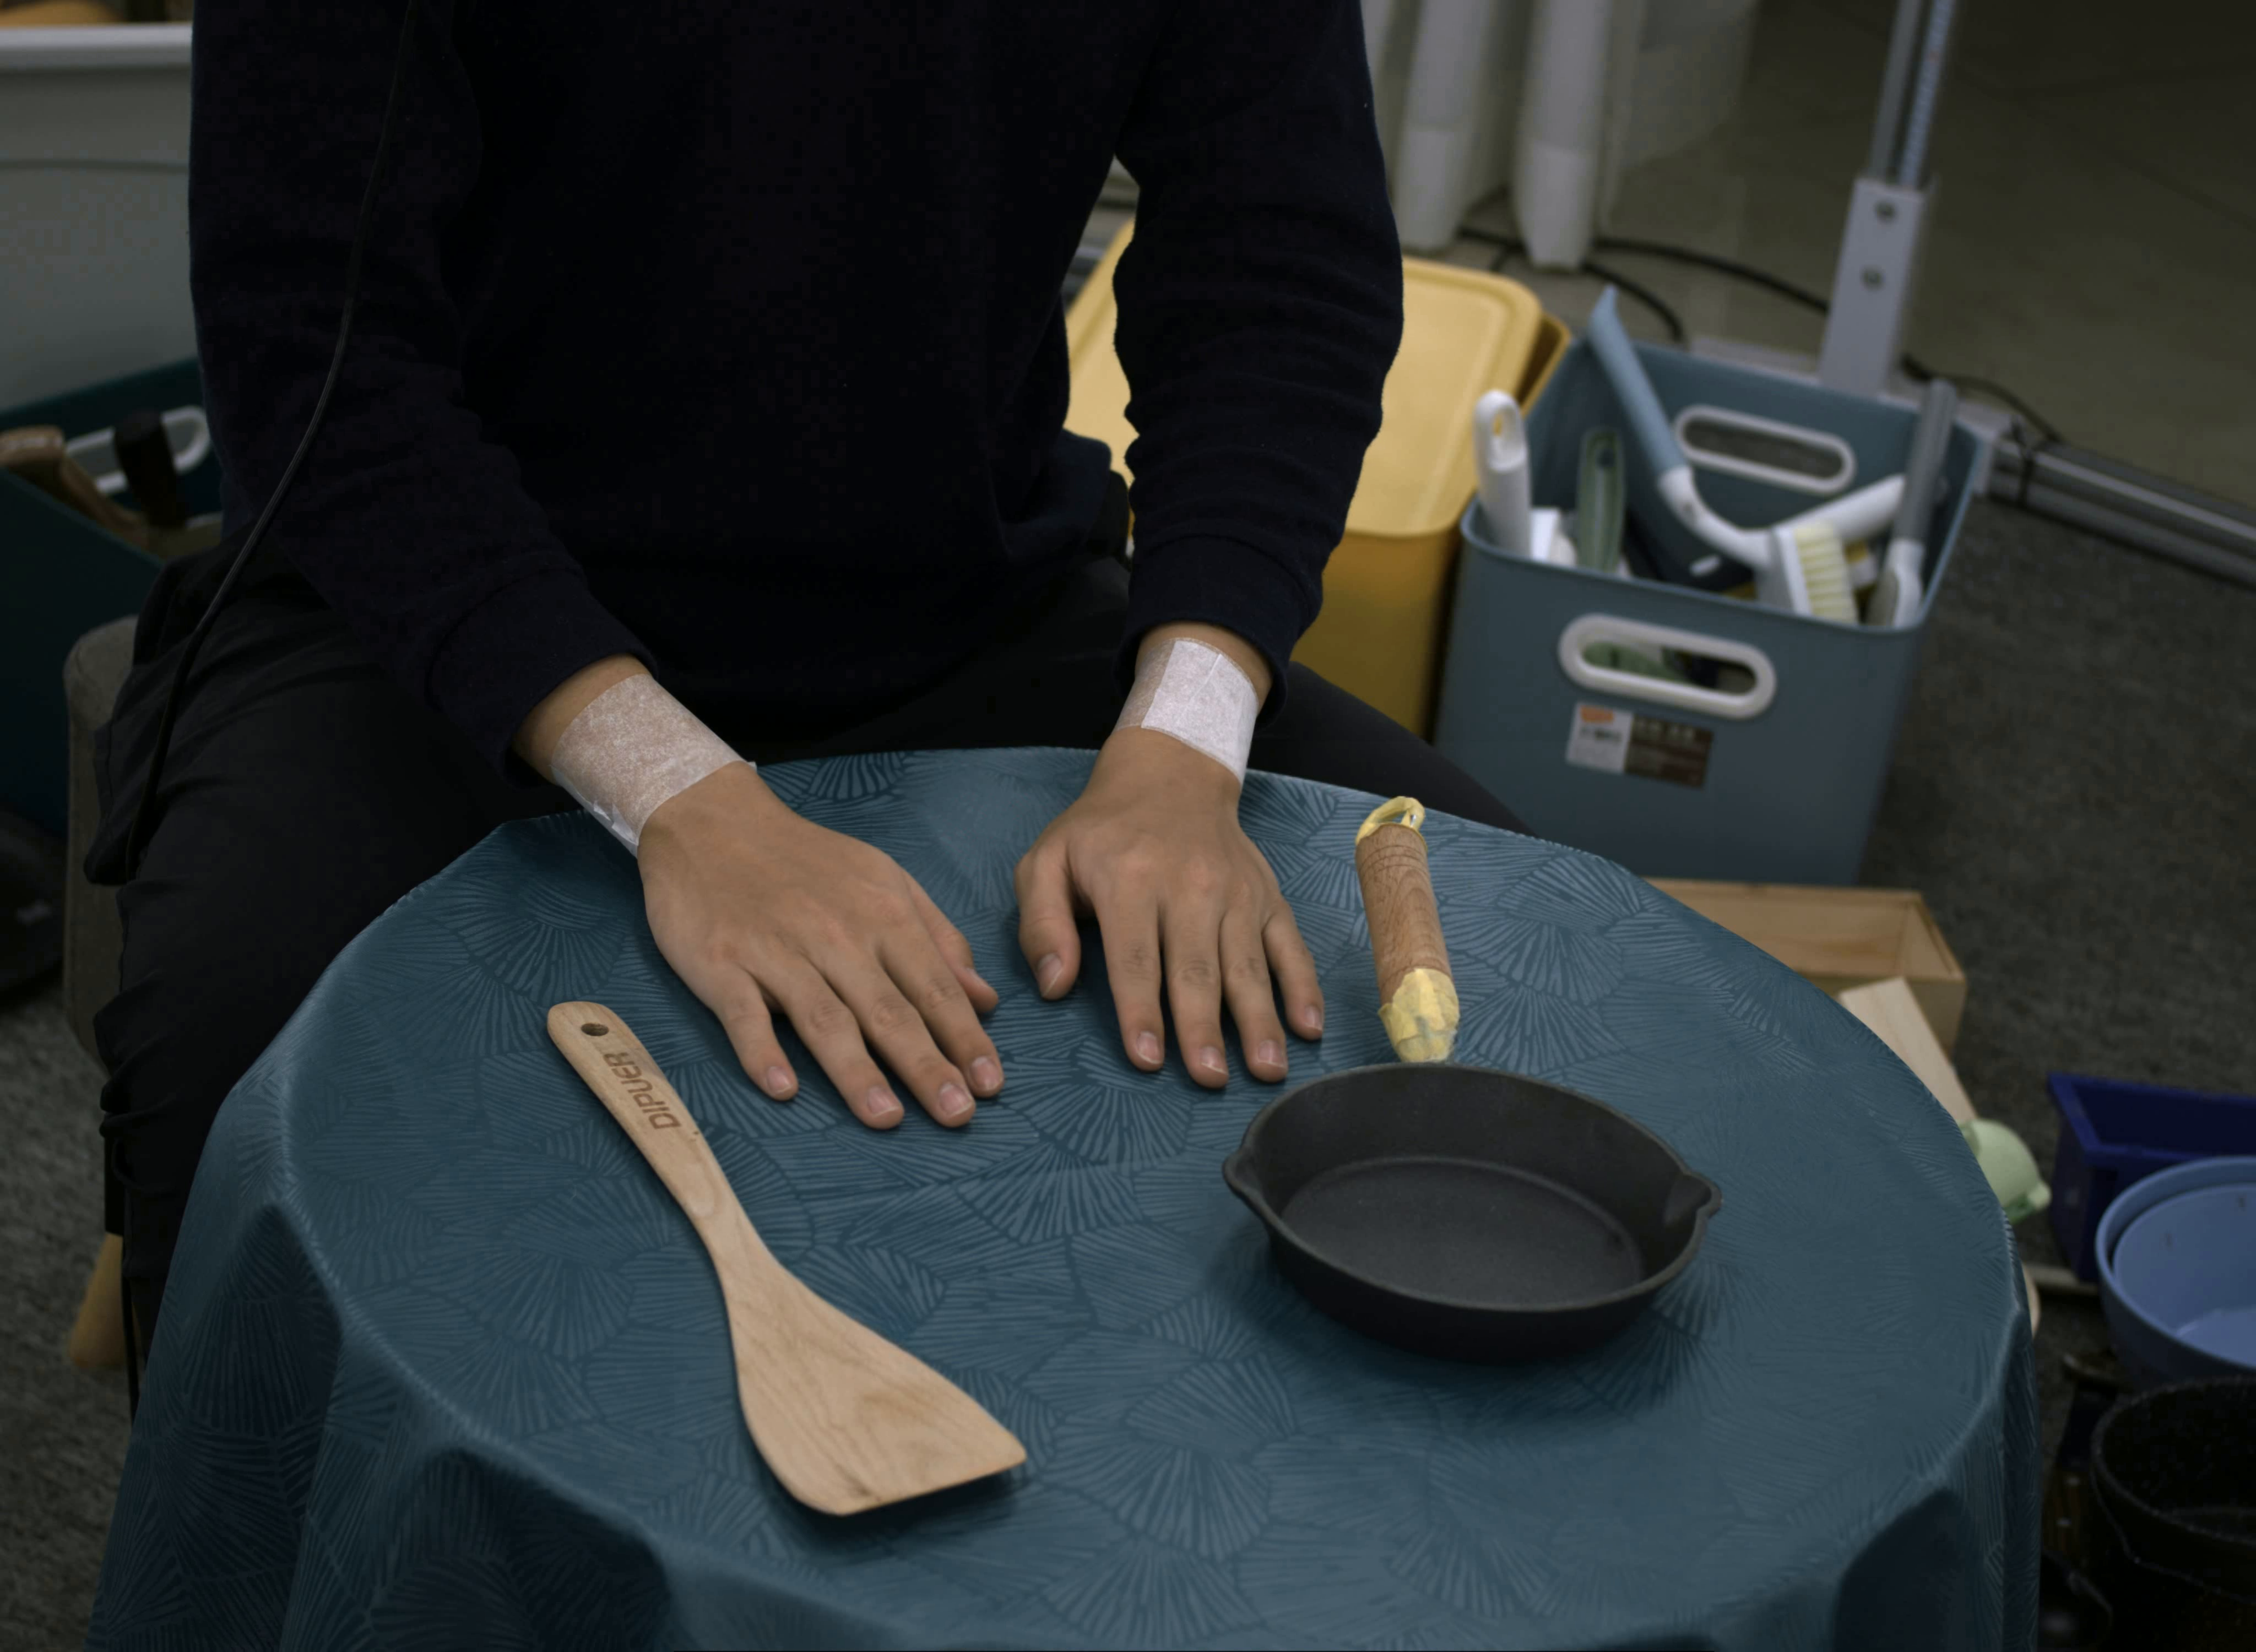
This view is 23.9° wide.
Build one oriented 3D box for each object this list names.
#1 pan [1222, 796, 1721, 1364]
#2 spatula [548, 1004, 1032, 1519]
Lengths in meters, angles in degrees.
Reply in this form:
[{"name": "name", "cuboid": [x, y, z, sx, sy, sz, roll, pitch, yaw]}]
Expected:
[{"name": "pan", "cuboid": [0.109, 0.085, 1.847, 0.168, 0.049, 0.326, 4, 29, -6]}, {"name": "spatula", "cuboid": [-0.125, 0.135, 1.734, 0.079, 0.016, 0.330, -6, 30, -25]}]
